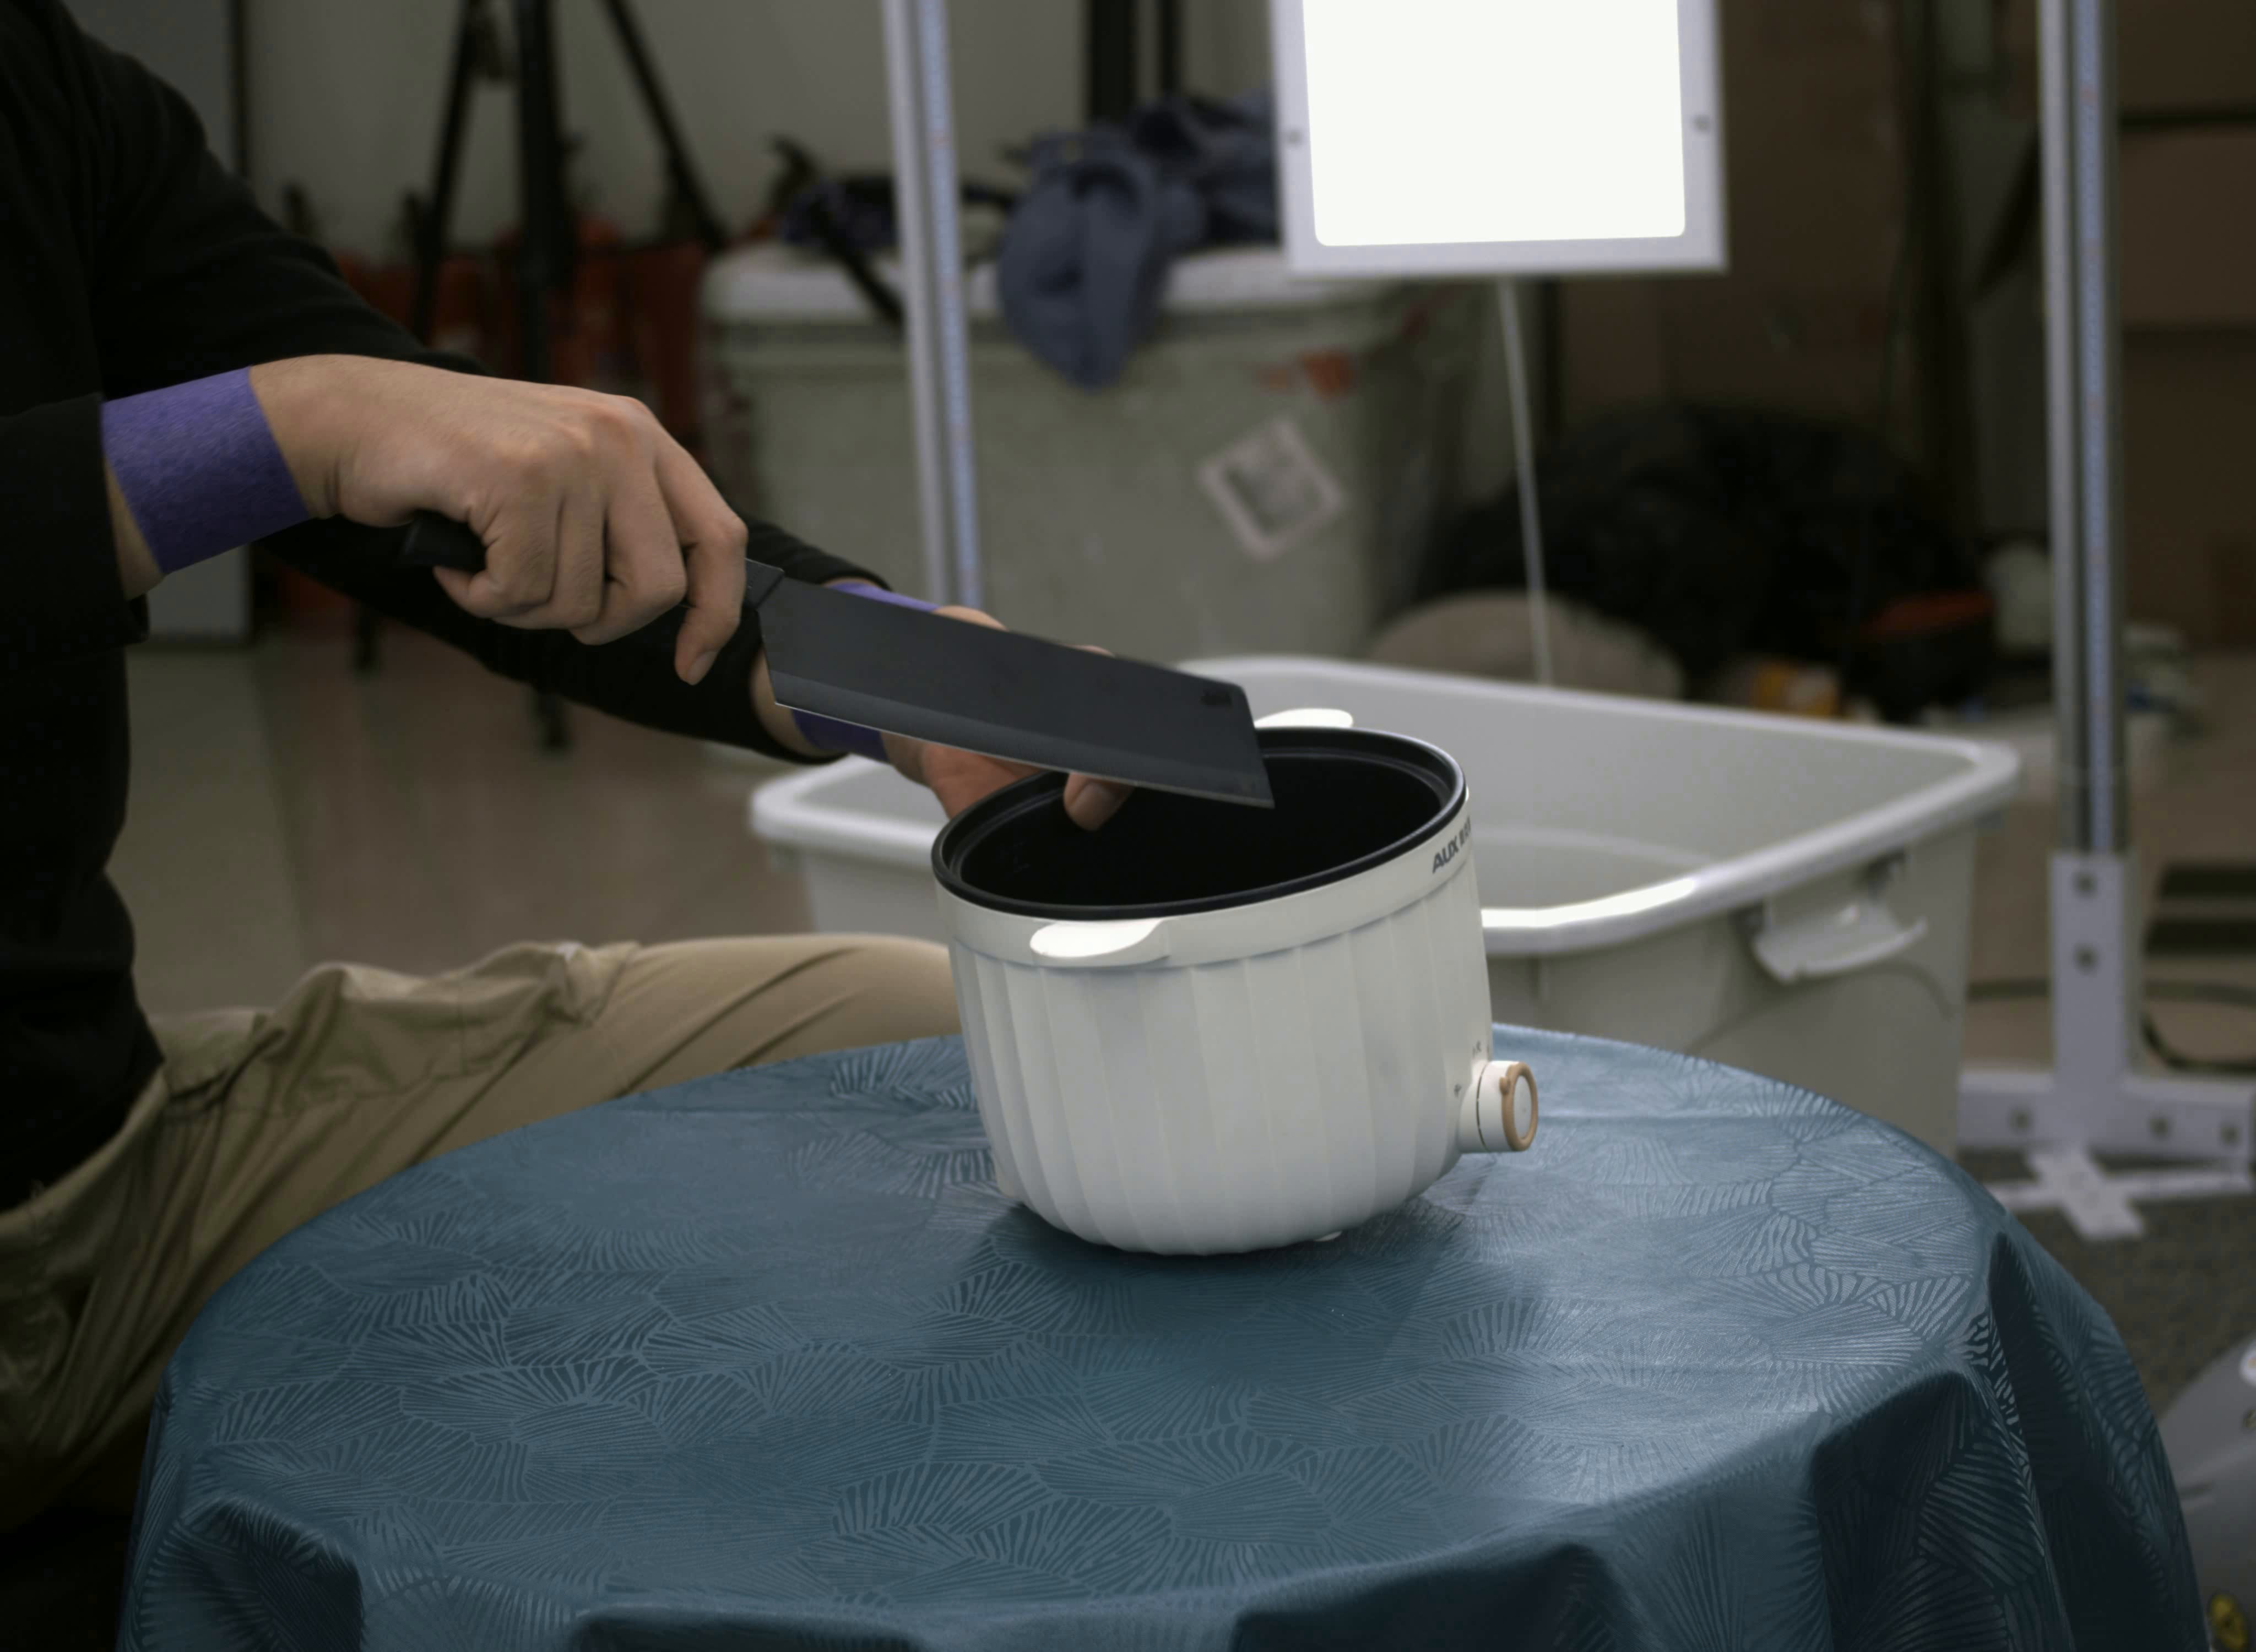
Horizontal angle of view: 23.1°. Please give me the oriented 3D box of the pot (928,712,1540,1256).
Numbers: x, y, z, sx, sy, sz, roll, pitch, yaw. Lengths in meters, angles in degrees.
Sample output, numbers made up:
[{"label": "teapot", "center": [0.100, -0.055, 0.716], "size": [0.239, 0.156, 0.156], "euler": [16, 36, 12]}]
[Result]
[{"label": "pot", "center": [0.038, 0.058, 1.851], "size": [0.193, 0.143, 0.236], "euler": [-5, 19, 24]}]

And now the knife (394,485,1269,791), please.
[{"label": "knife", "center": [-0.092, -0.060, 1.782], "size": [0.298, 0.021, 0.081], "euler": [15, 39, -17]}]
